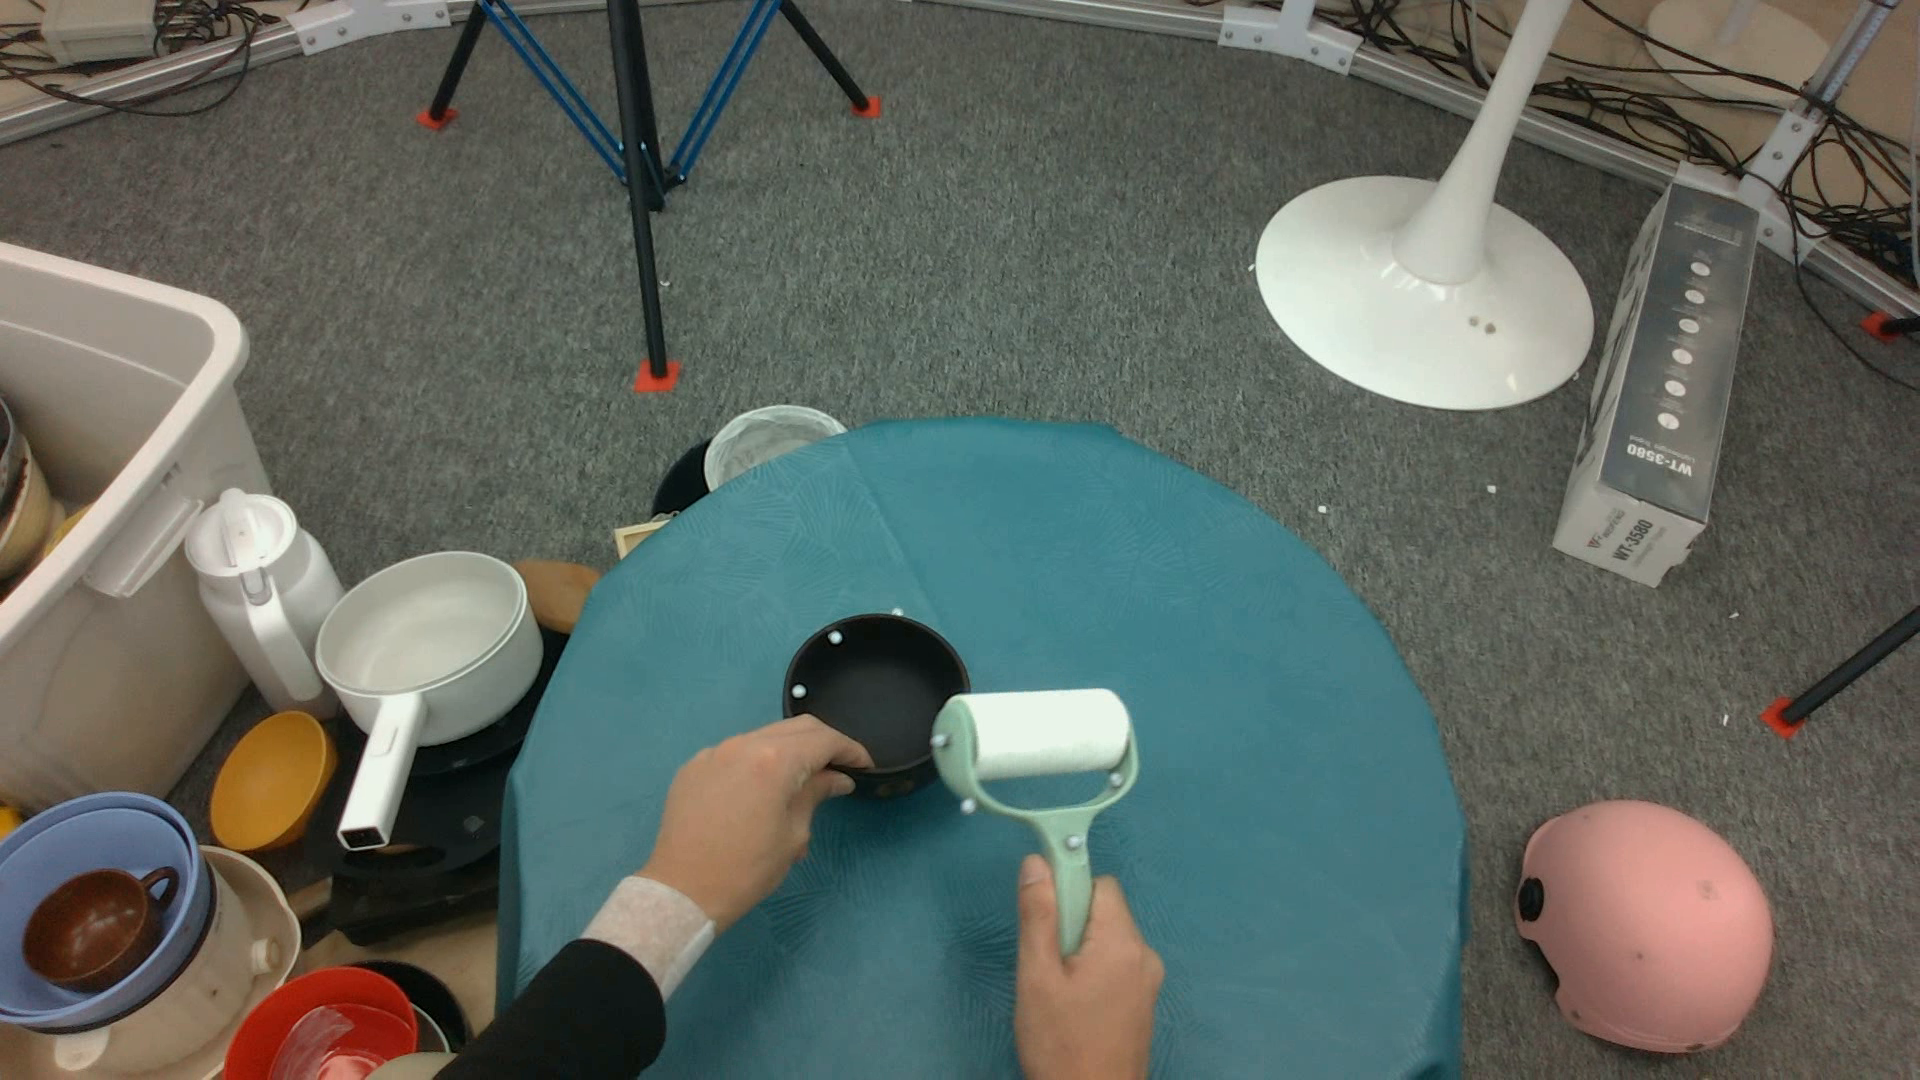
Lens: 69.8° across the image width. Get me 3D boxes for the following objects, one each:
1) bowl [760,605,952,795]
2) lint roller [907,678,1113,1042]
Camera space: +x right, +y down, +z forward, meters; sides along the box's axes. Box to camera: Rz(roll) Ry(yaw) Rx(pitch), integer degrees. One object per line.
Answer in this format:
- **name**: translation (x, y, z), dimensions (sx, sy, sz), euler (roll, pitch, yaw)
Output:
- **bowl**: translation (-0.065, 0.106, 0.860), dimensions (0.118, 0.069, 0.118), euler (3, 54, -4)
- **lint roller**: translation (0.038, 0.175, 0.764), dimensions (0.117, 0.048, 0.198), euler (2, 71, -32)
